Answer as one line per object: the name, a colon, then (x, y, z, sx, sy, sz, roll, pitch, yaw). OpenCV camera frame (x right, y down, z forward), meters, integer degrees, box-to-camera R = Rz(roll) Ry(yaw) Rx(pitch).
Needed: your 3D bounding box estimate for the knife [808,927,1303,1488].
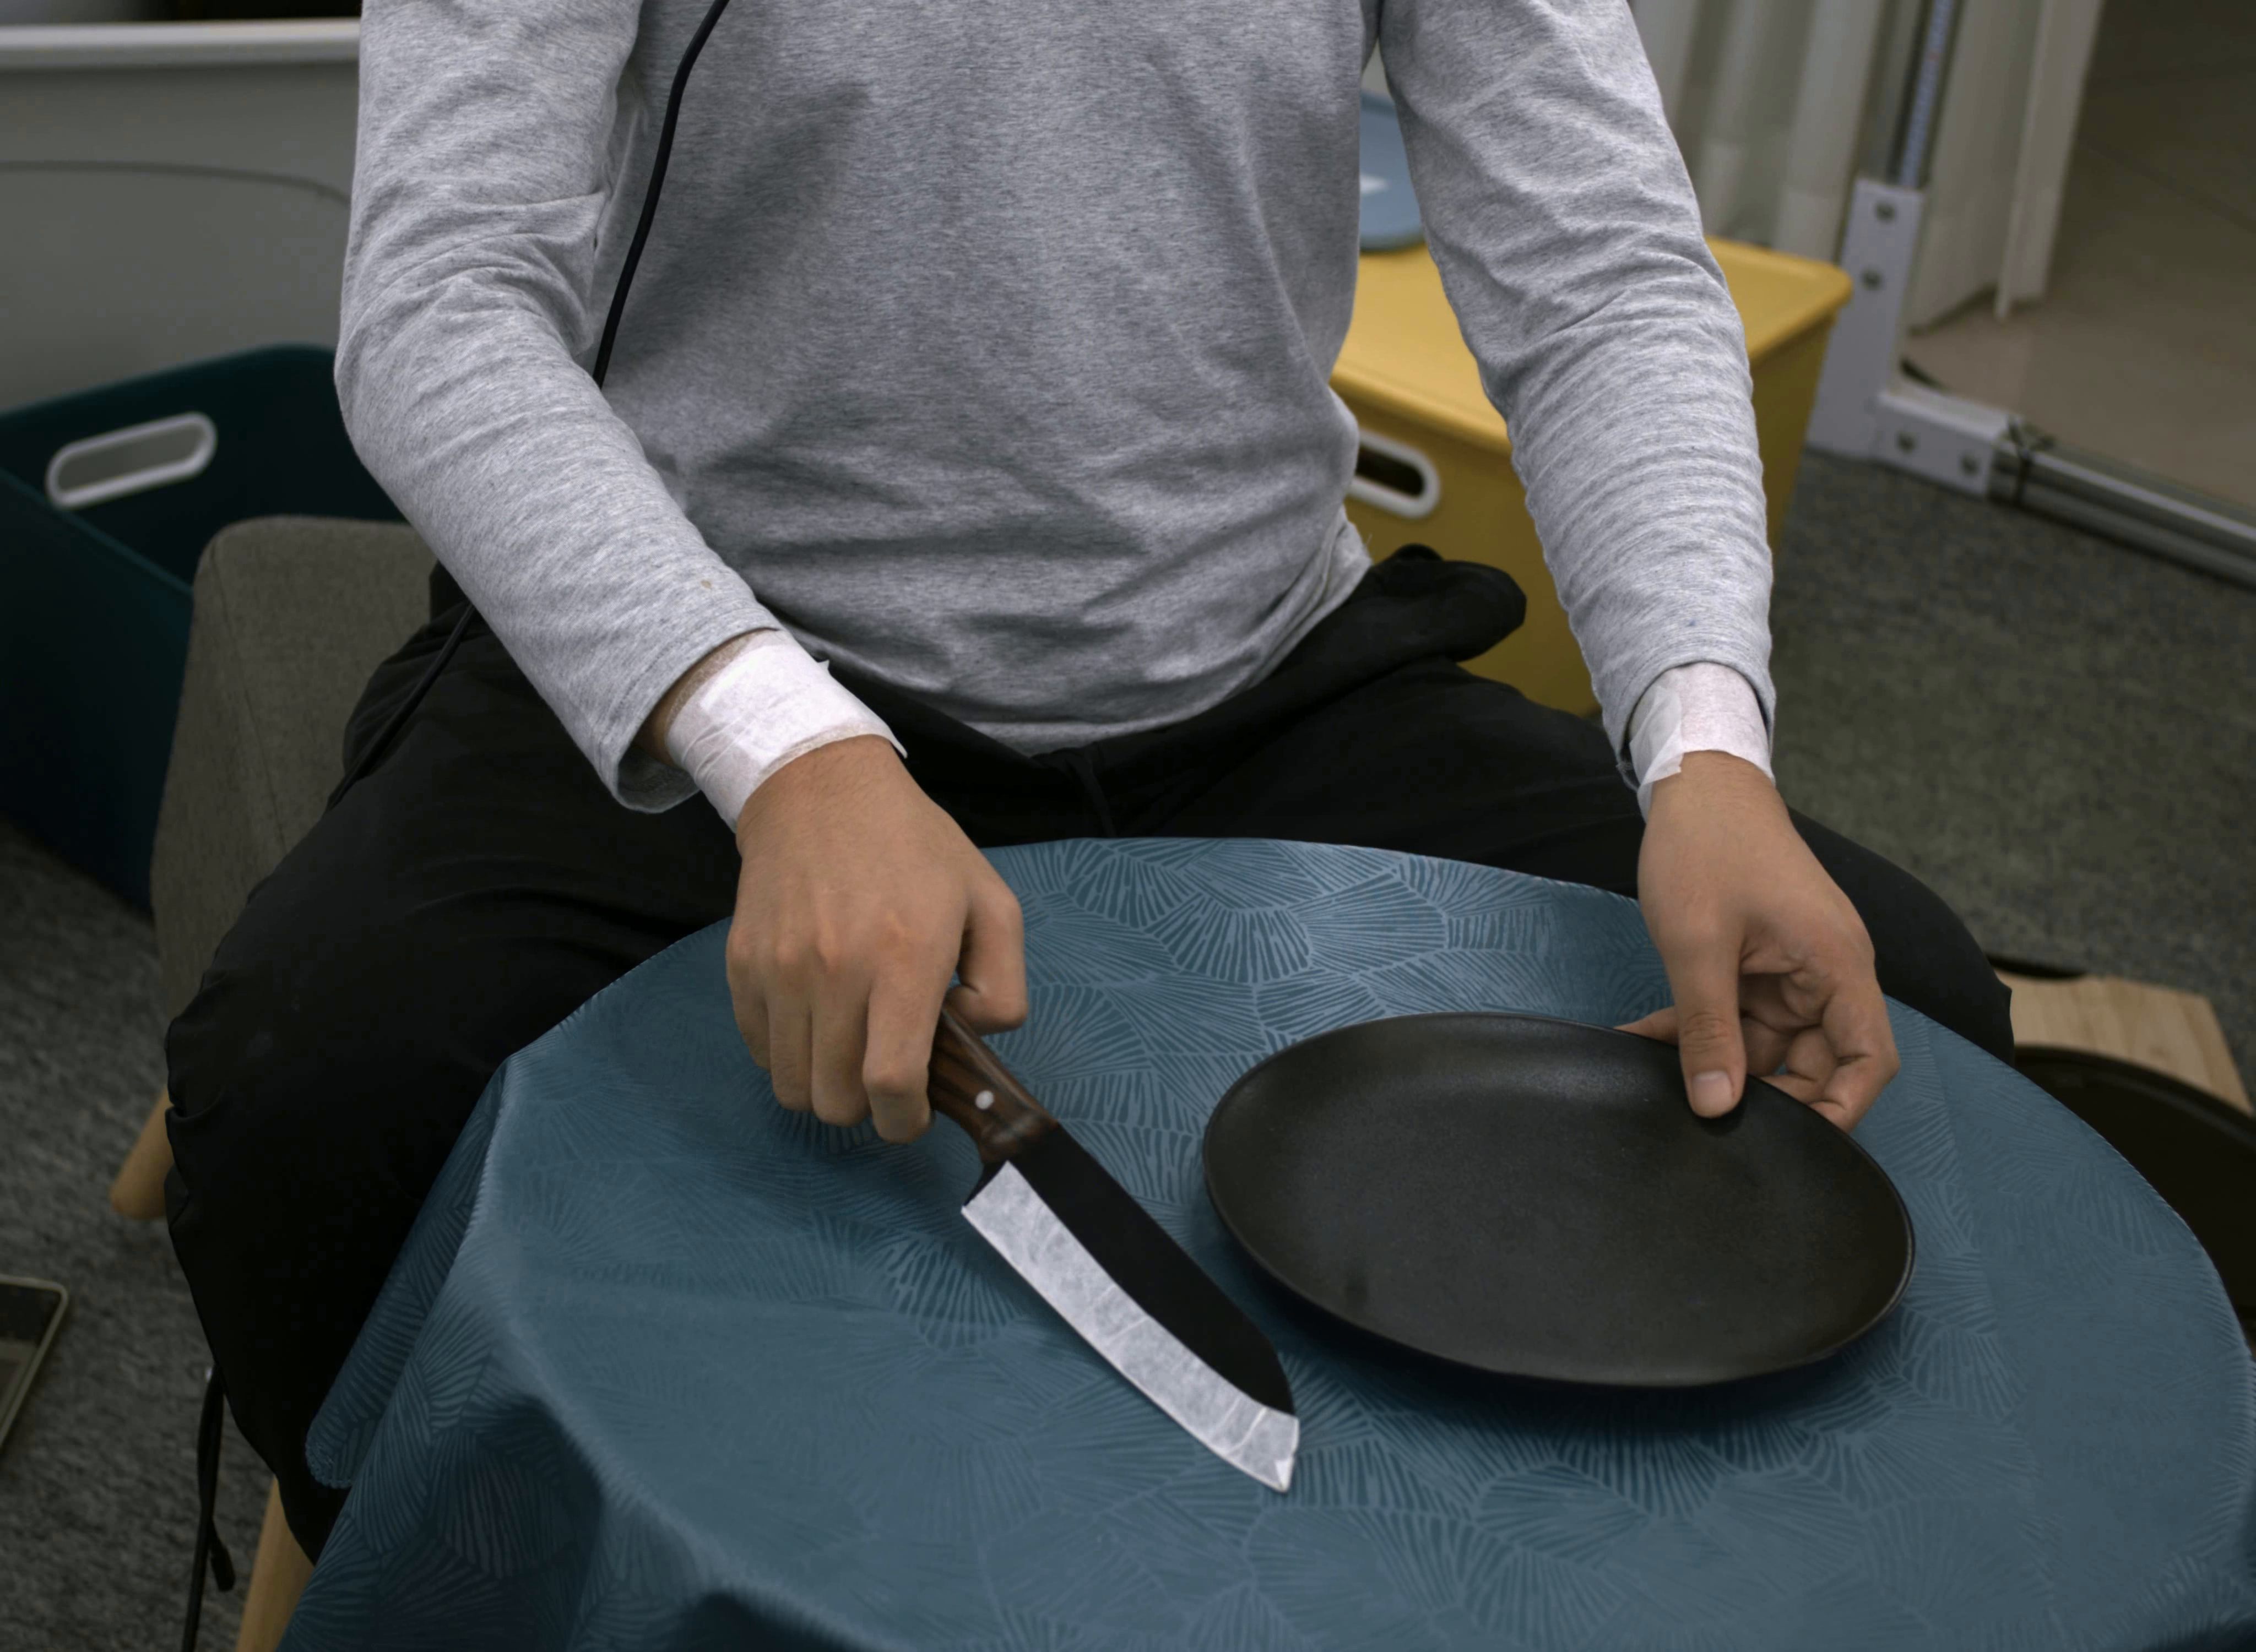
knife: (-0.025, 0.122, 1.742, 0.292, 0.050, 0.020, 46, 2, 40)

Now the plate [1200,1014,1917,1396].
plate: (0.144, 0.131, 1.797, 0.243, 0.023, 0.246, 5, 27, -3)
